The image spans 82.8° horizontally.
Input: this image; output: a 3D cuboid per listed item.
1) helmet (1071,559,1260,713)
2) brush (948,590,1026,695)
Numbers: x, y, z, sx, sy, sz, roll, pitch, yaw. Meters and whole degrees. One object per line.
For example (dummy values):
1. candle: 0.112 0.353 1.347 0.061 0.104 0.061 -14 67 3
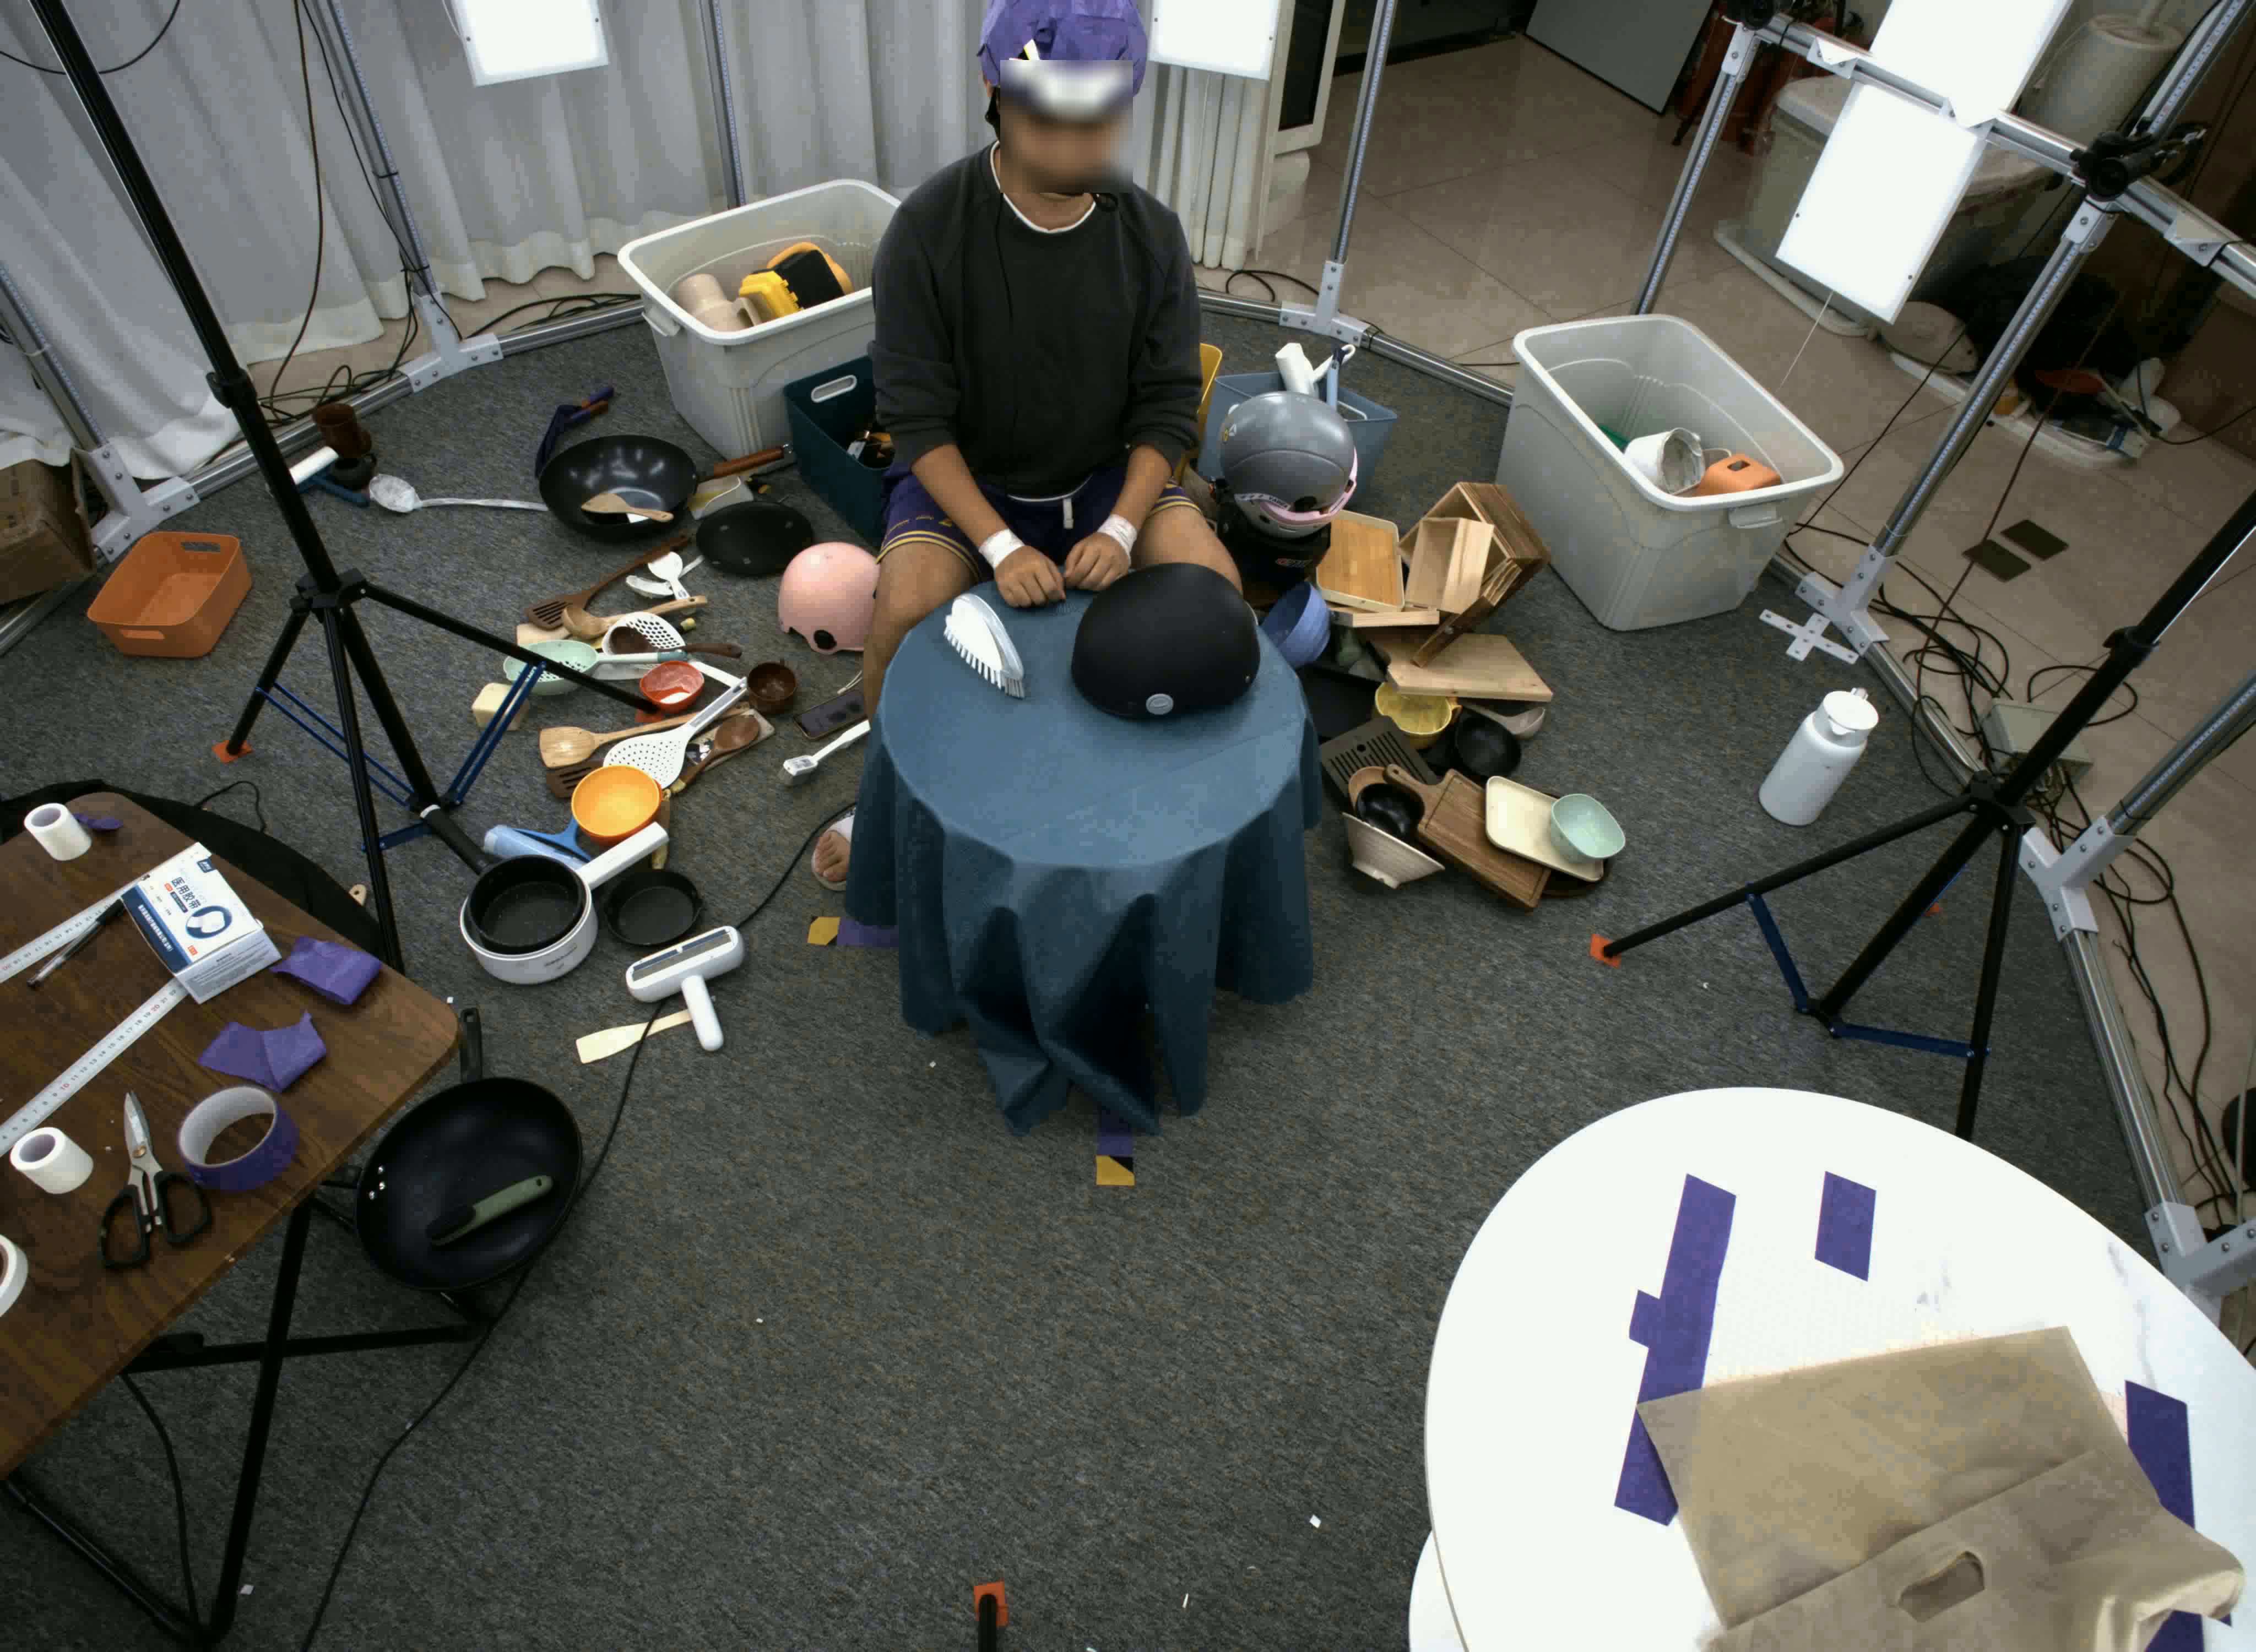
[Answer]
1. helmet: 0.055 -0.282 1.813 0.273 0.163 0.236 -9 50 -9
2. brush: -0.194 -0.268 1.828 0.062 0.092 0.179 -26 57 -22
